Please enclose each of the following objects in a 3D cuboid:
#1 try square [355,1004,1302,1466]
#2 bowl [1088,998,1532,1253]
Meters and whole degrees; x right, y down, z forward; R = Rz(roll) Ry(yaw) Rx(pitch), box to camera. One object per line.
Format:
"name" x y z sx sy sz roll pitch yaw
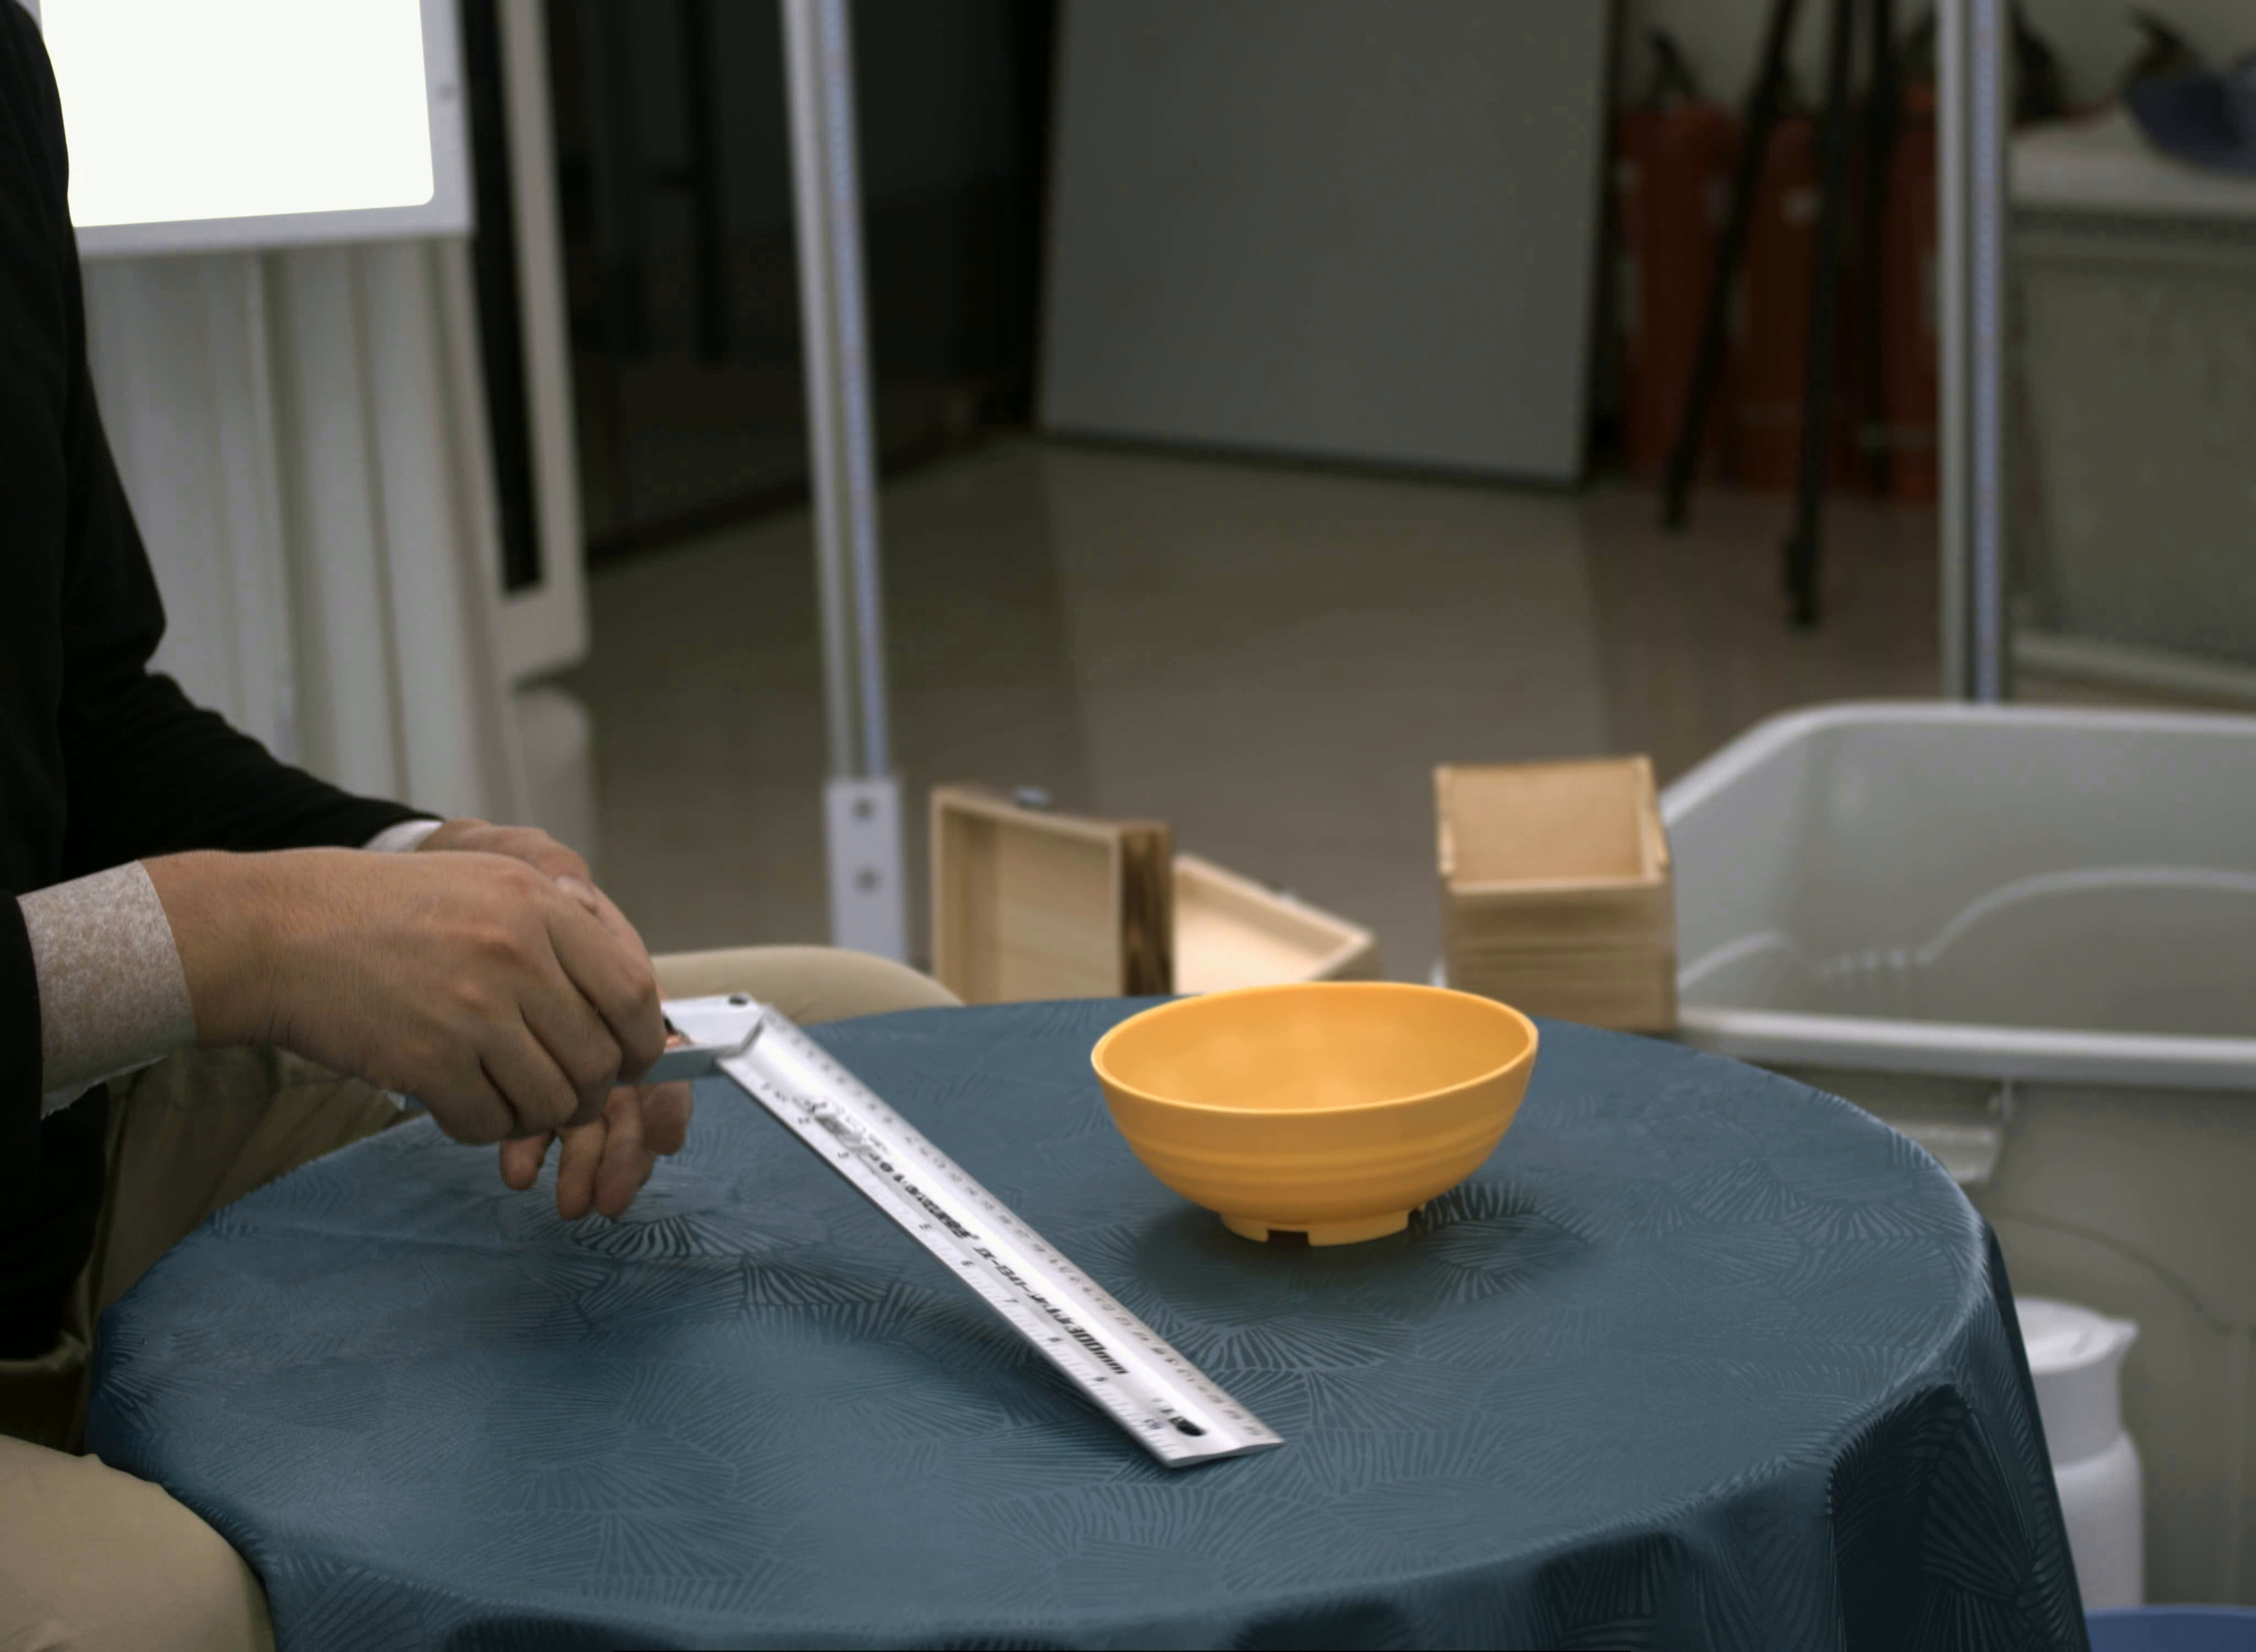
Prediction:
"try square" -0.096 0.126 1.615 0.149 0.016 0.316 -8 26 -32
"bowl" 0.060 0.099 1.725 0.143 0.061 0.145 -5 11 0
